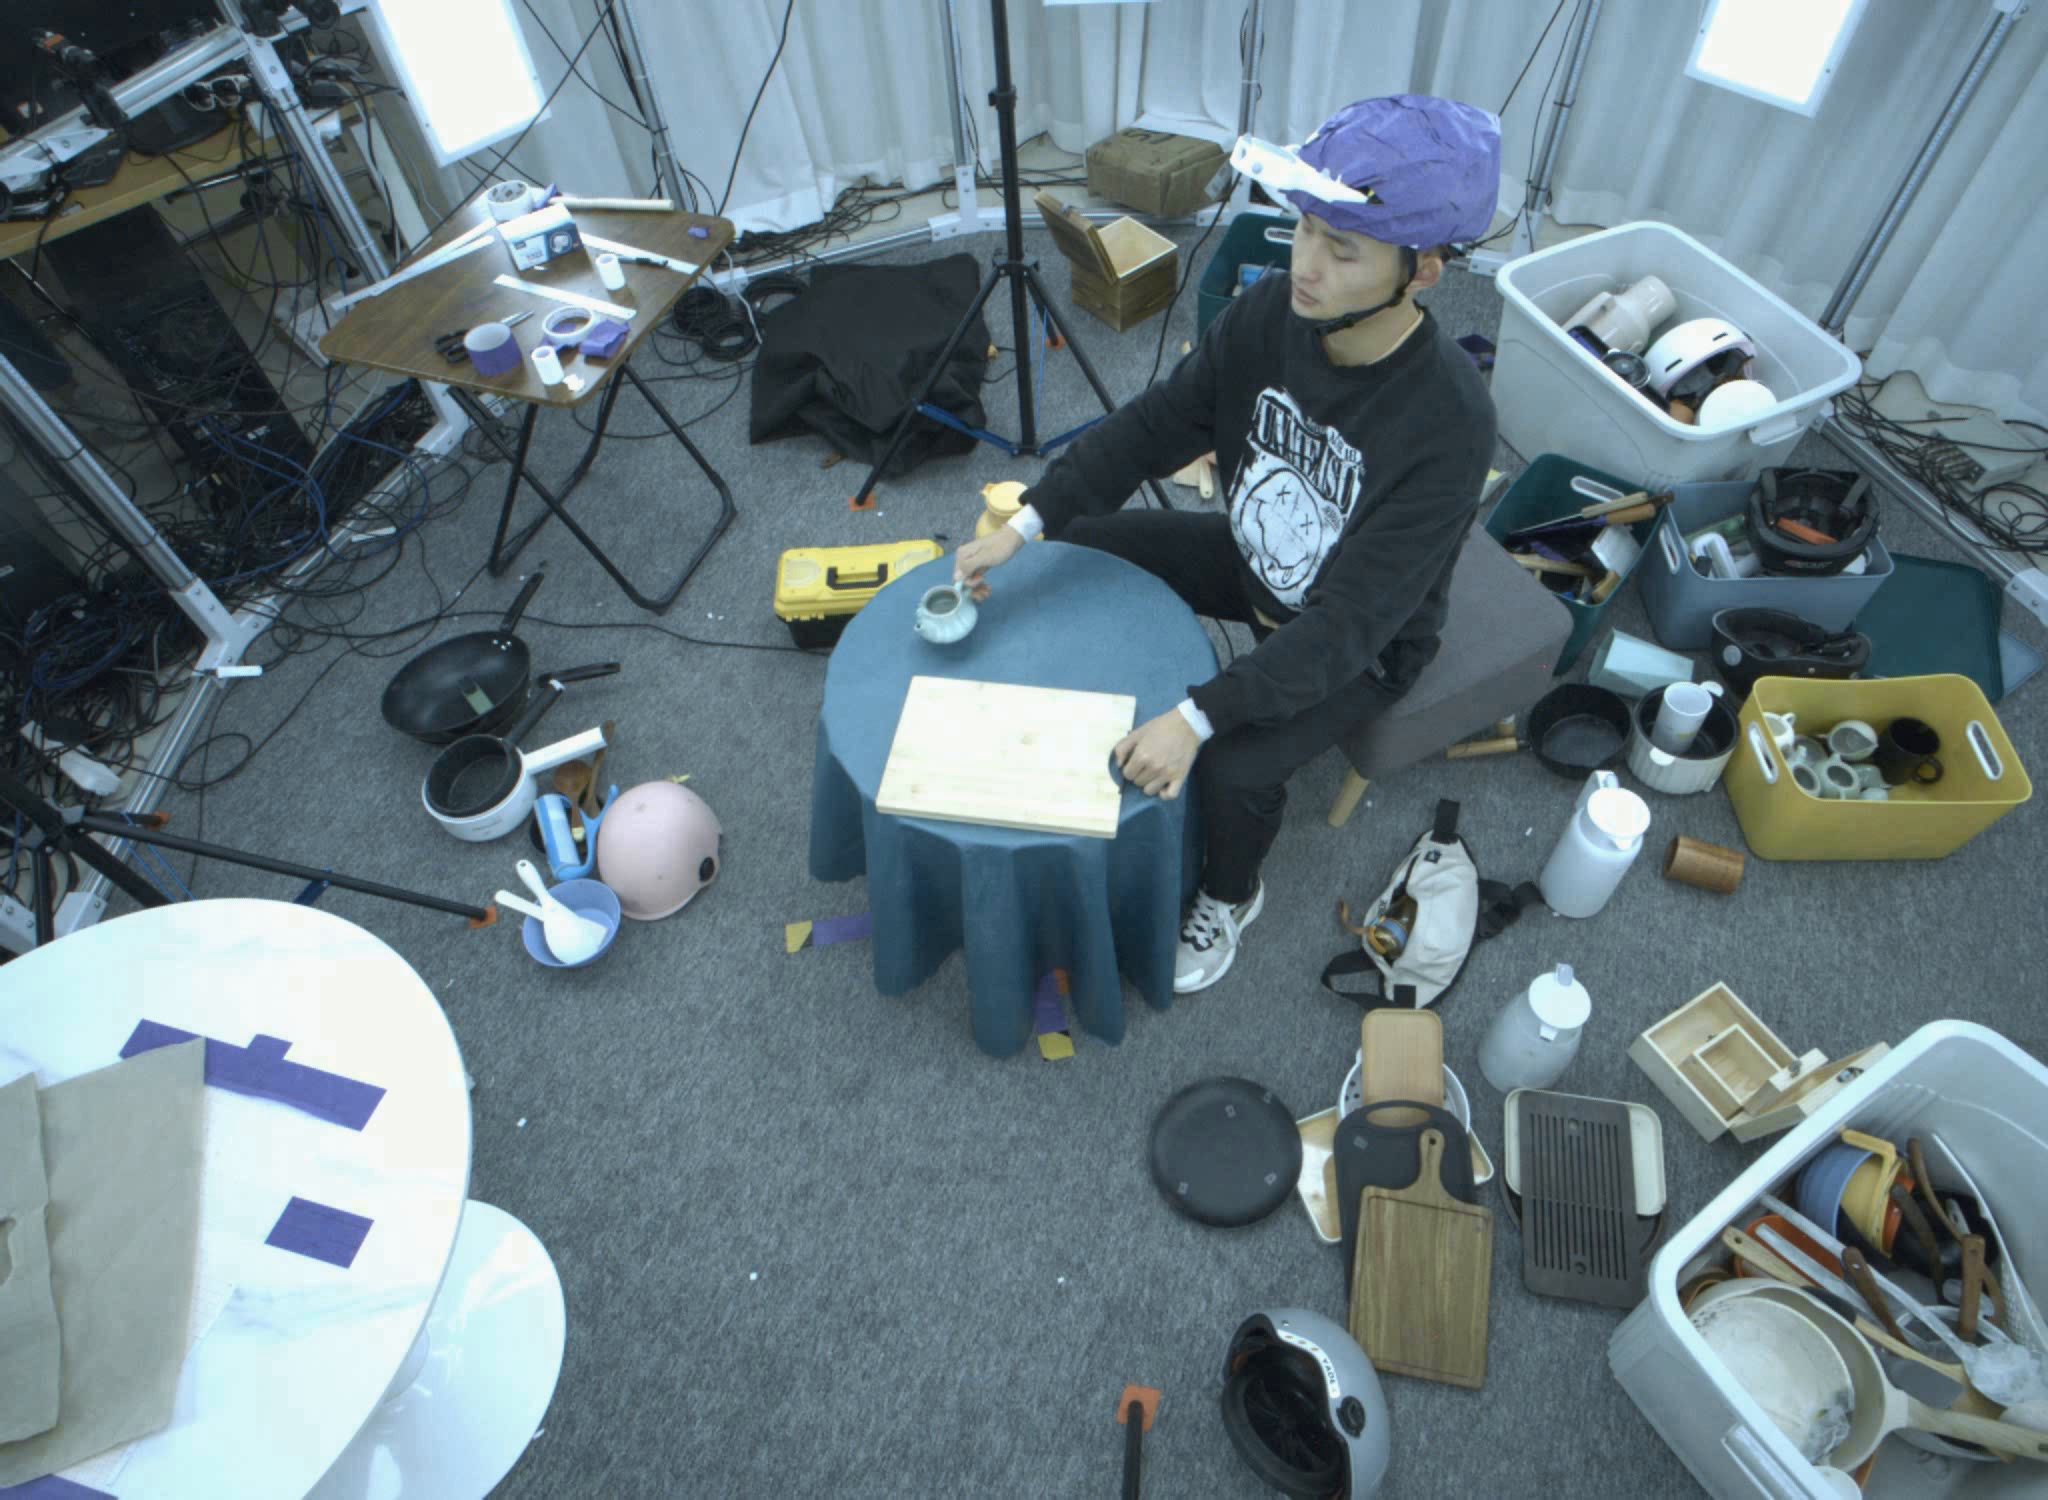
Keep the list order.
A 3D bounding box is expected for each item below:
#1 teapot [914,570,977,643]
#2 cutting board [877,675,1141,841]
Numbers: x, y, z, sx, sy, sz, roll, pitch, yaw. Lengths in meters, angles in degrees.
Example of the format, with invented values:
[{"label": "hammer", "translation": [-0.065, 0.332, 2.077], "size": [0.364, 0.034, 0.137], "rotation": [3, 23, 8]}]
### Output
[{"label": "teapot", "translation": [-0.120, -0.215, 1.870], "size": [0.094, 0.062, 0.137], "rotation": [25, 65, 23]}, {"label": "cutting board", "translation": [-0.017, 0.006, 1.769], "size": [0.347, 0.024, 0.249], "rotation": [5, 55, 6]}]
